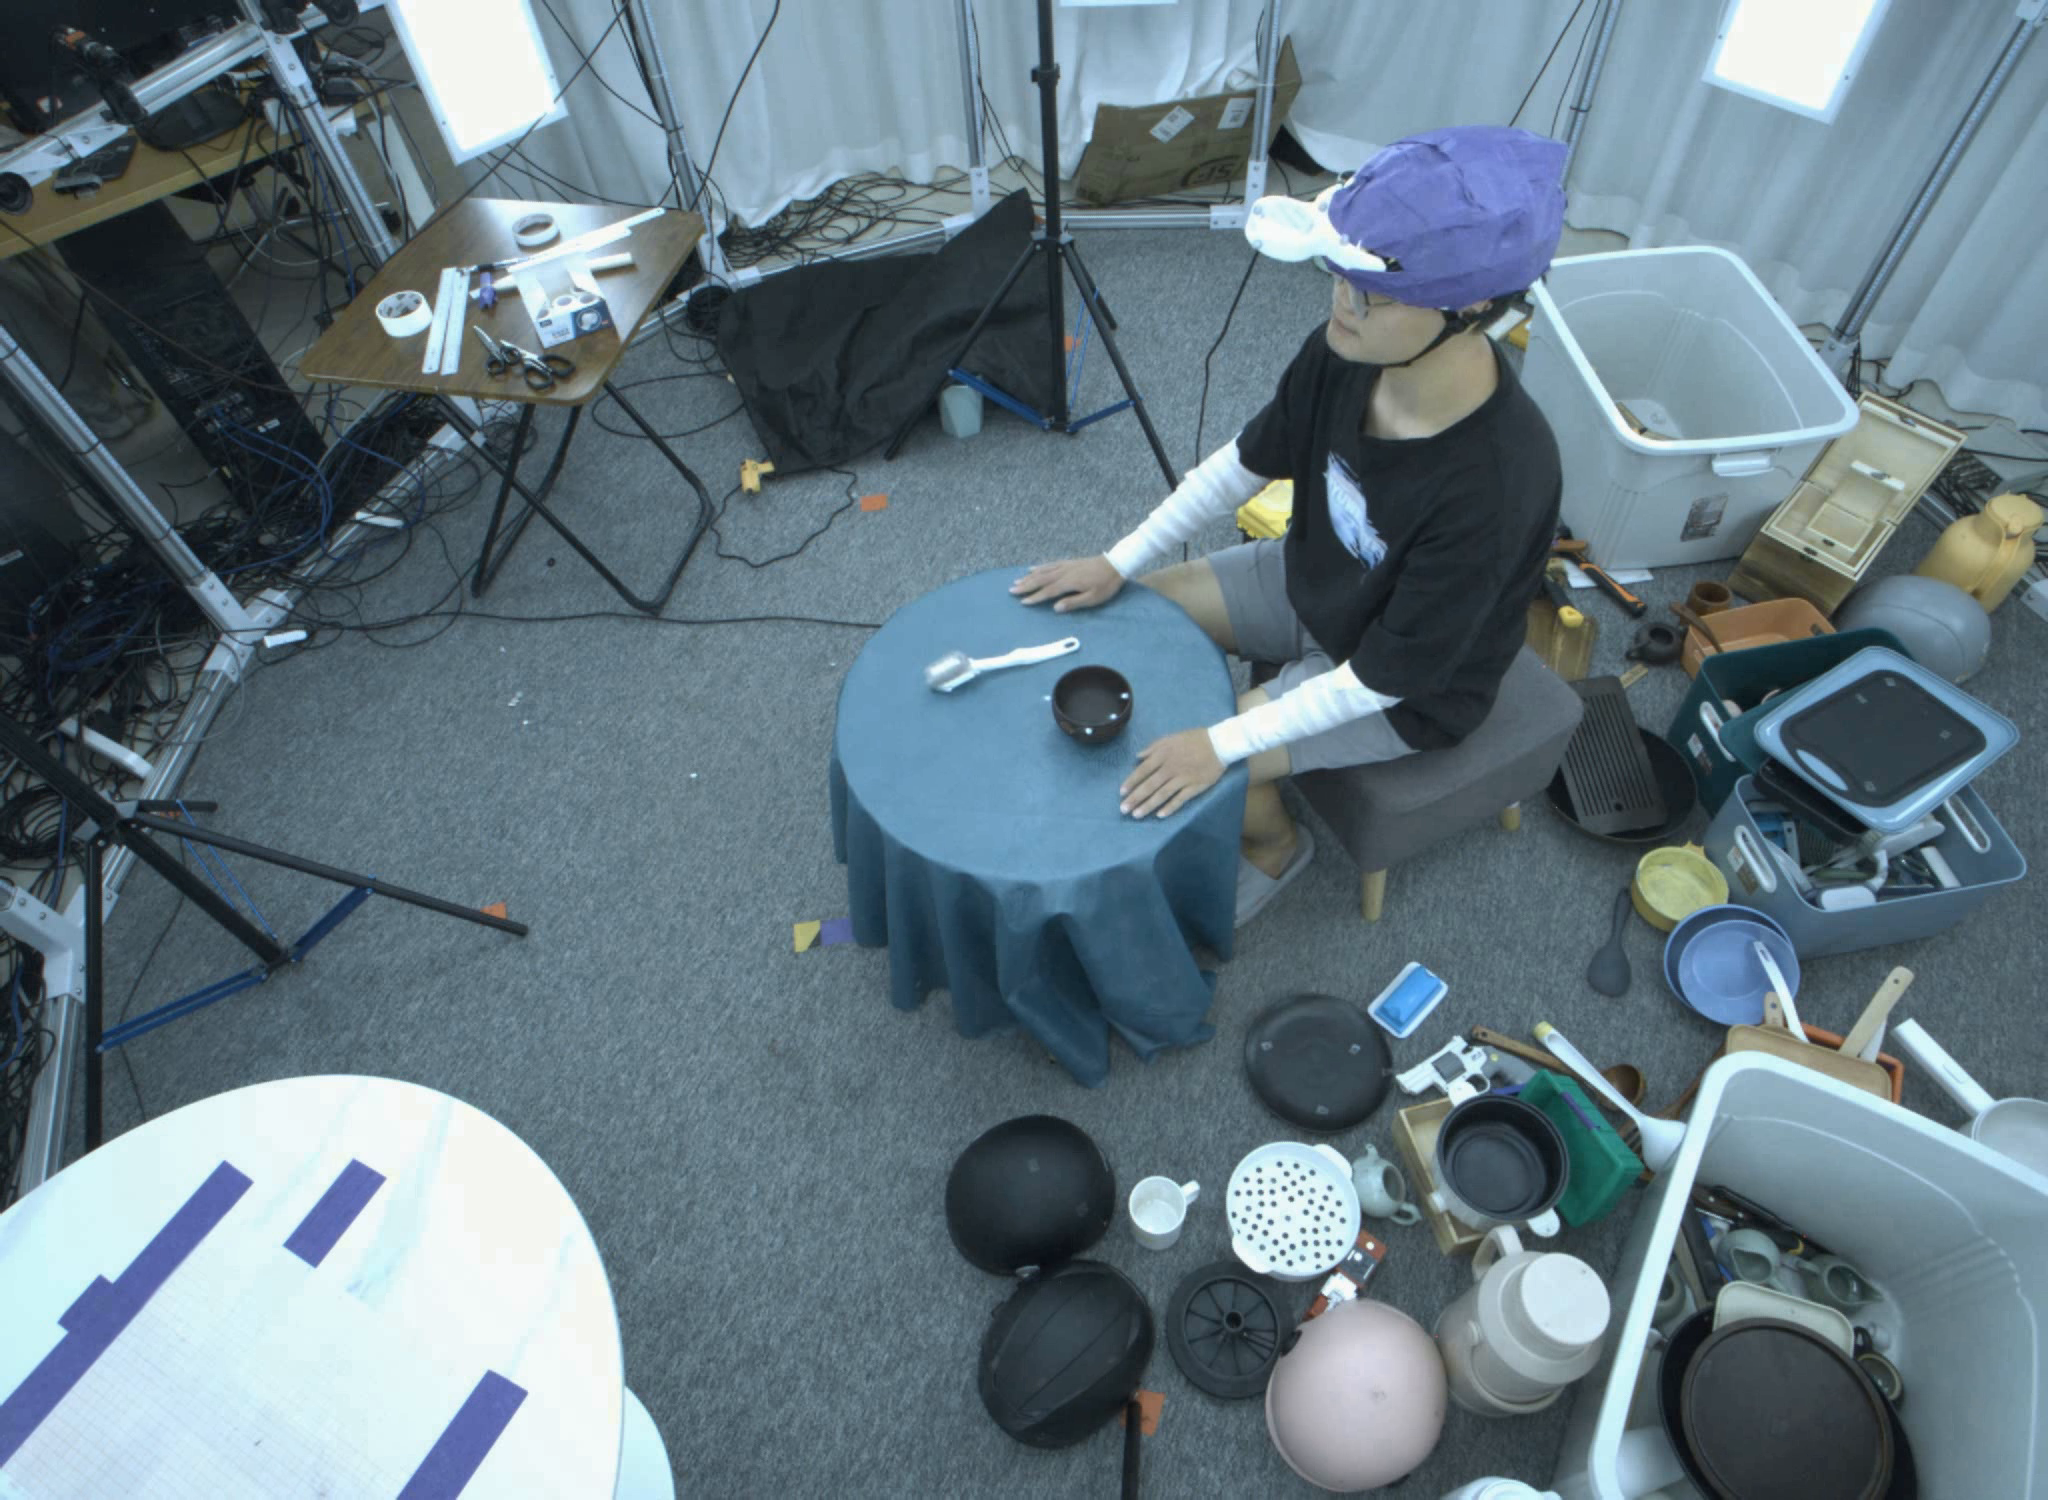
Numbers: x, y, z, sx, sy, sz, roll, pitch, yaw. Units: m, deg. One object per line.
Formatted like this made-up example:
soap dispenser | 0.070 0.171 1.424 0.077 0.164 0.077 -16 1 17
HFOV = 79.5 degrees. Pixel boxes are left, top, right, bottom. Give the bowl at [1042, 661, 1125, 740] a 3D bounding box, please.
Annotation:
bowl | 0.086 -0.063 1.775 0.118 0.070 0.117 0 53 1

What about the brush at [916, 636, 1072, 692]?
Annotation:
brush | -0.043 -0.143 1.851 0.245 0.051 0.034 -17 55 -9
